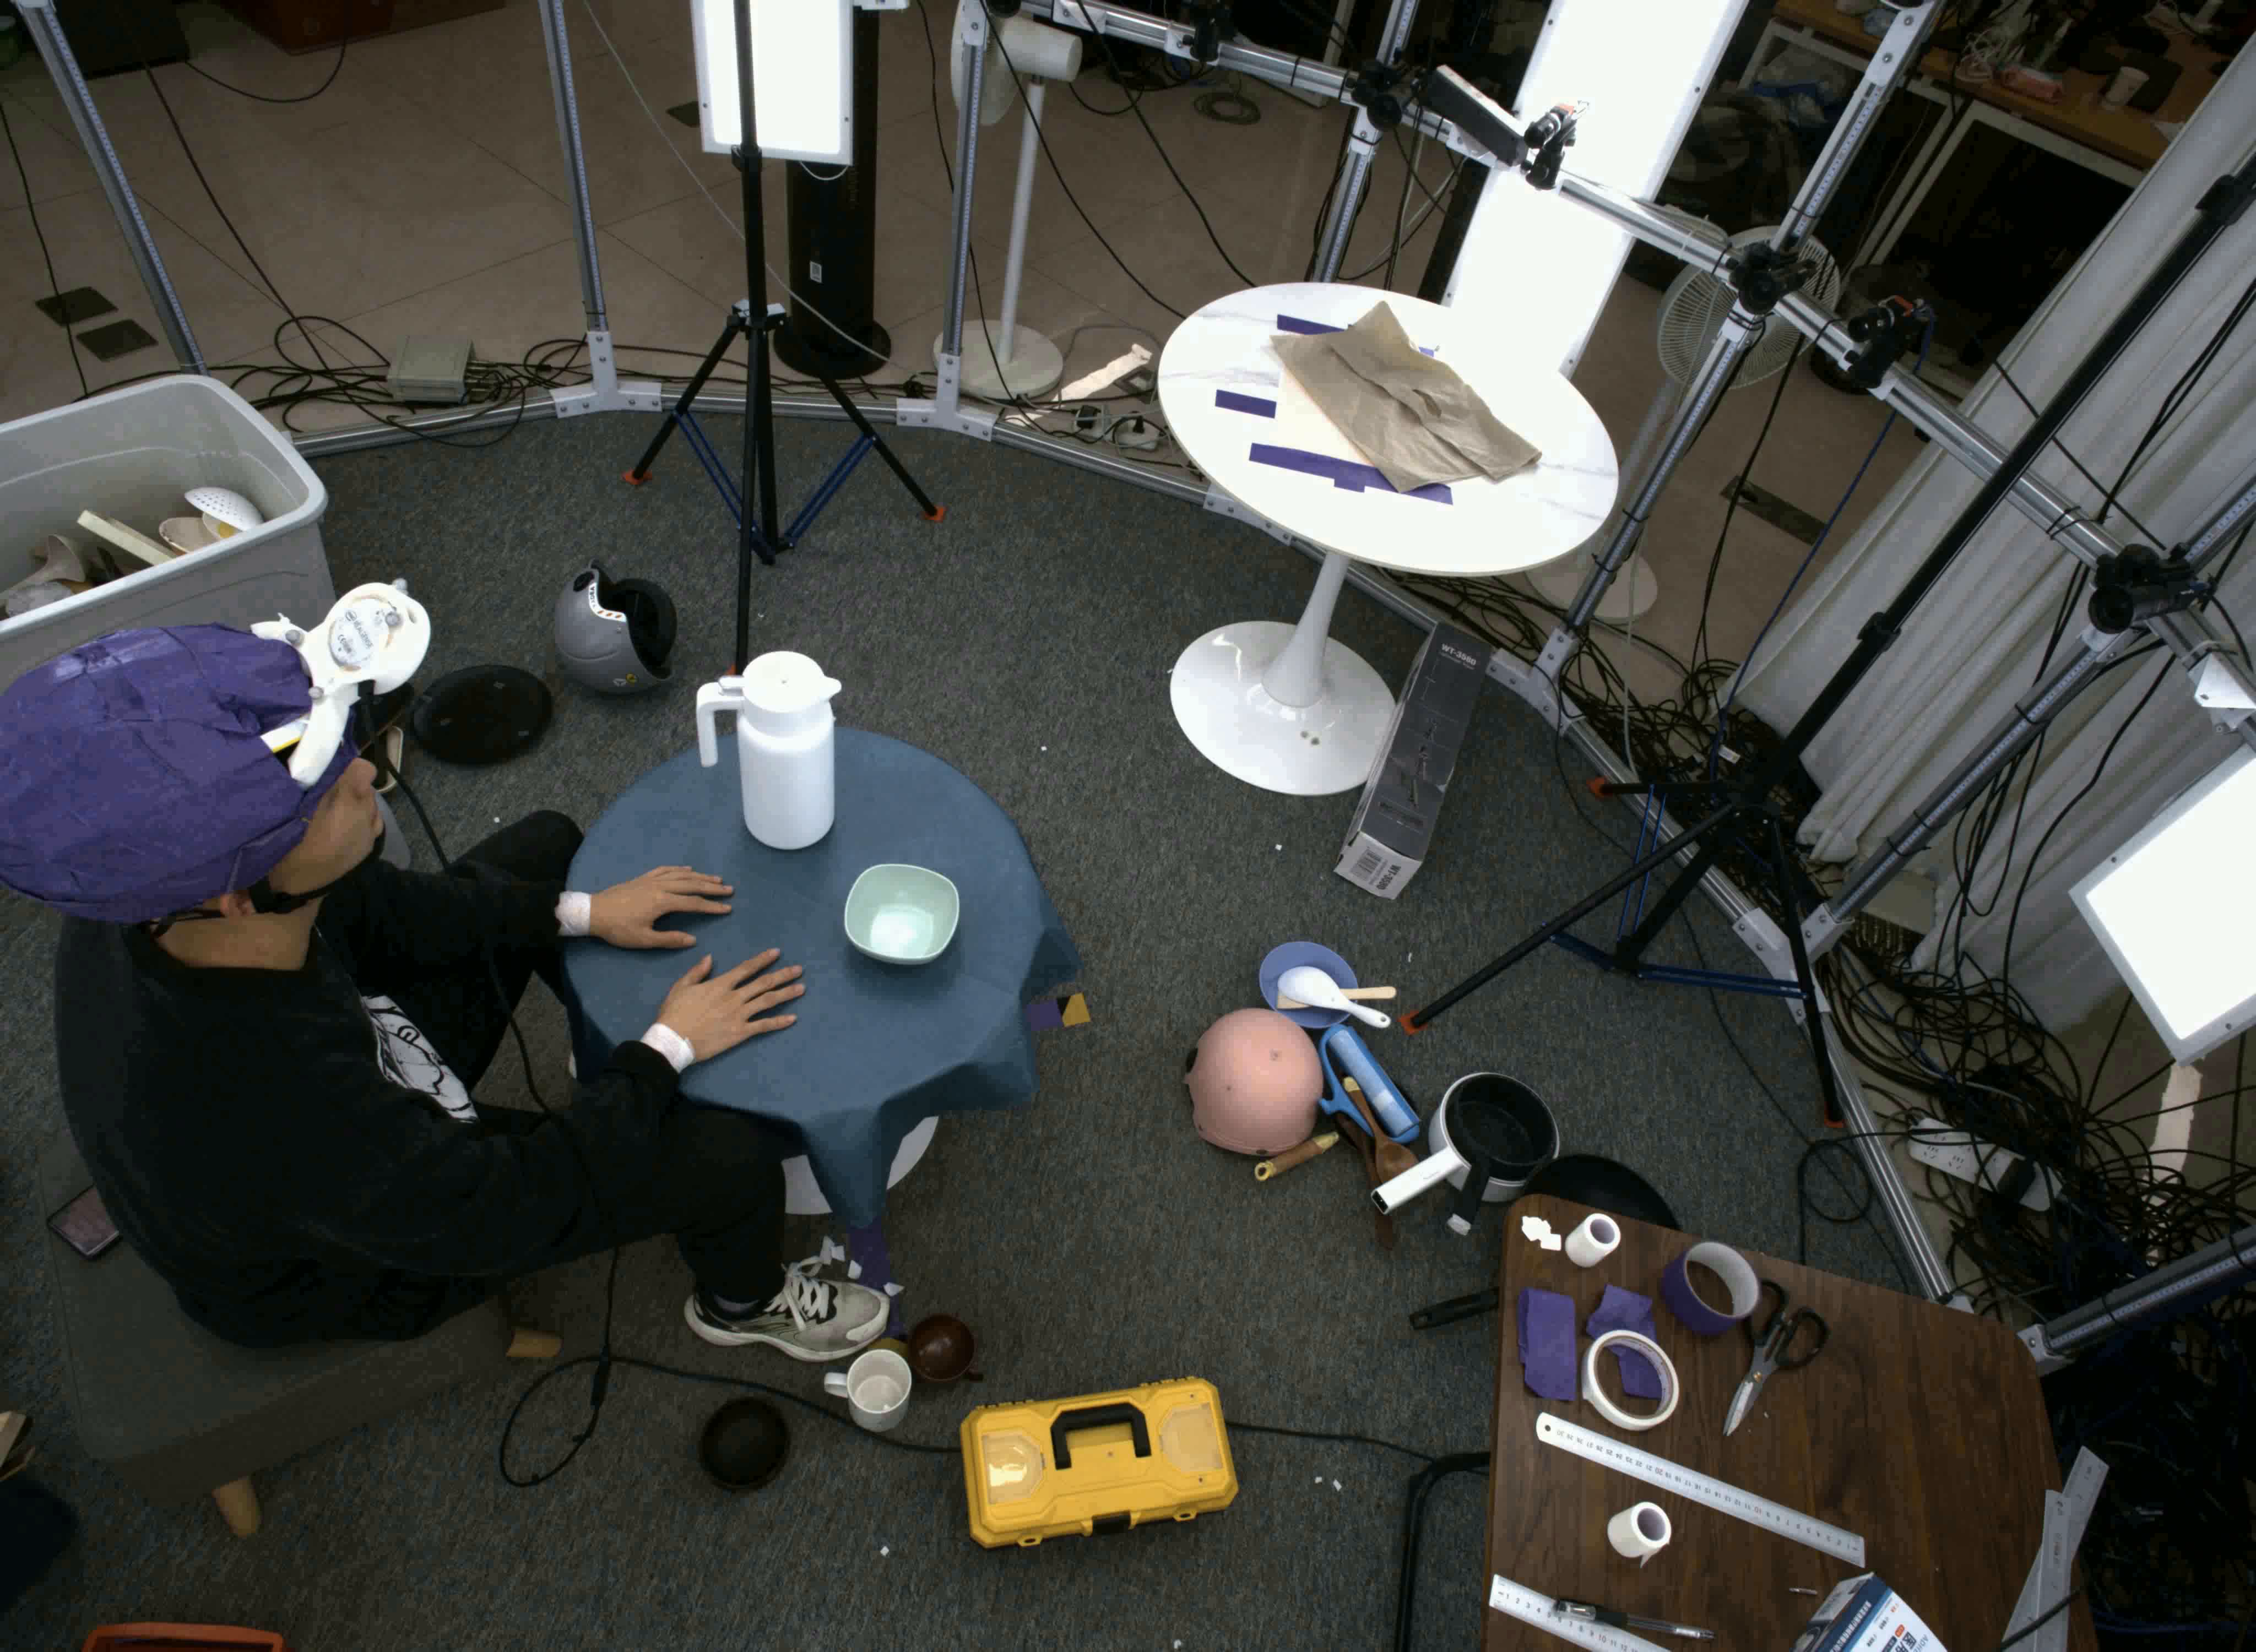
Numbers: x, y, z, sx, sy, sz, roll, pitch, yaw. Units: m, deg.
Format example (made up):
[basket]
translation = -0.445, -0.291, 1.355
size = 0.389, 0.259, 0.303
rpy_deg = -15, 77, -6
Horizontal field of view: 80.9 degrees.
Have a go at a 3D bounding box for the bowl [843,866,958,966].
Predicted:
[bowl]
translation = -0.285, 0.122, 1.632
size = 0.151, 0.060, 0.149
rpy_deg = 8, 52, -8

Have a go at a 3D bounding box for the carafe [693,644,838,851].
[carafe]
translation = -0.446, -0.093, 1.612
size = 0.173, 0.274, 0.121
rpy_deg = -4, 55, -15
